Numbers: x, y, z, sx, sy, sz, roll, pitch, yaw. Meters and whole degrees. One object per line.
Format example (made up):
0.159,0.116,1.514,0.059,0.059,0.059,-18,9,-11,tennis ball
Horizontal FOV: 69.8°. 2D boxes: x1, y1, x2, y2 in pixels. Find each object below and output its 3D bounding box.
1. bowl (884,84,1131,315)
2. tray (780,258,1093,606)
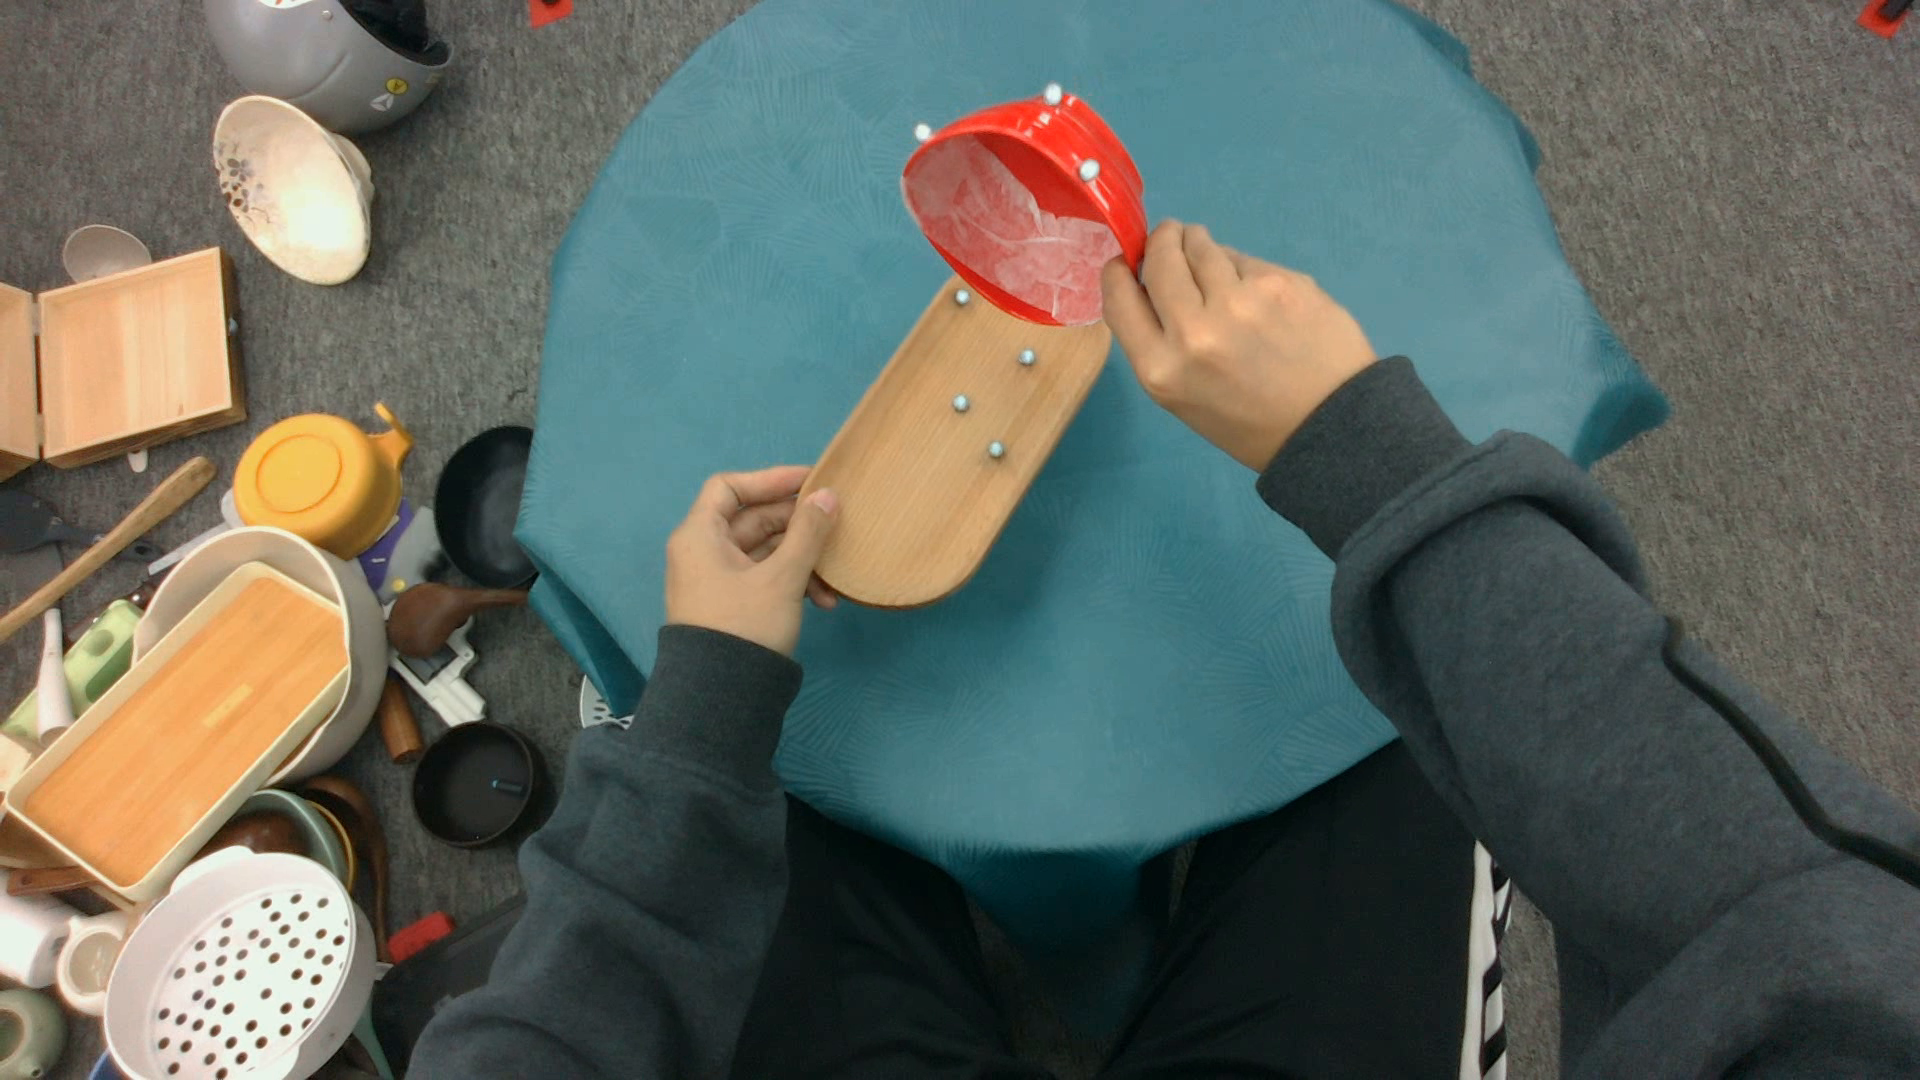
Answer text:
0.029,-0.159,0.620,0.119,0.118,0.051,26,65,13,bowl
-0.009,-0.065,0.718,0.101,0.020,0.232,25,66,11,tray
